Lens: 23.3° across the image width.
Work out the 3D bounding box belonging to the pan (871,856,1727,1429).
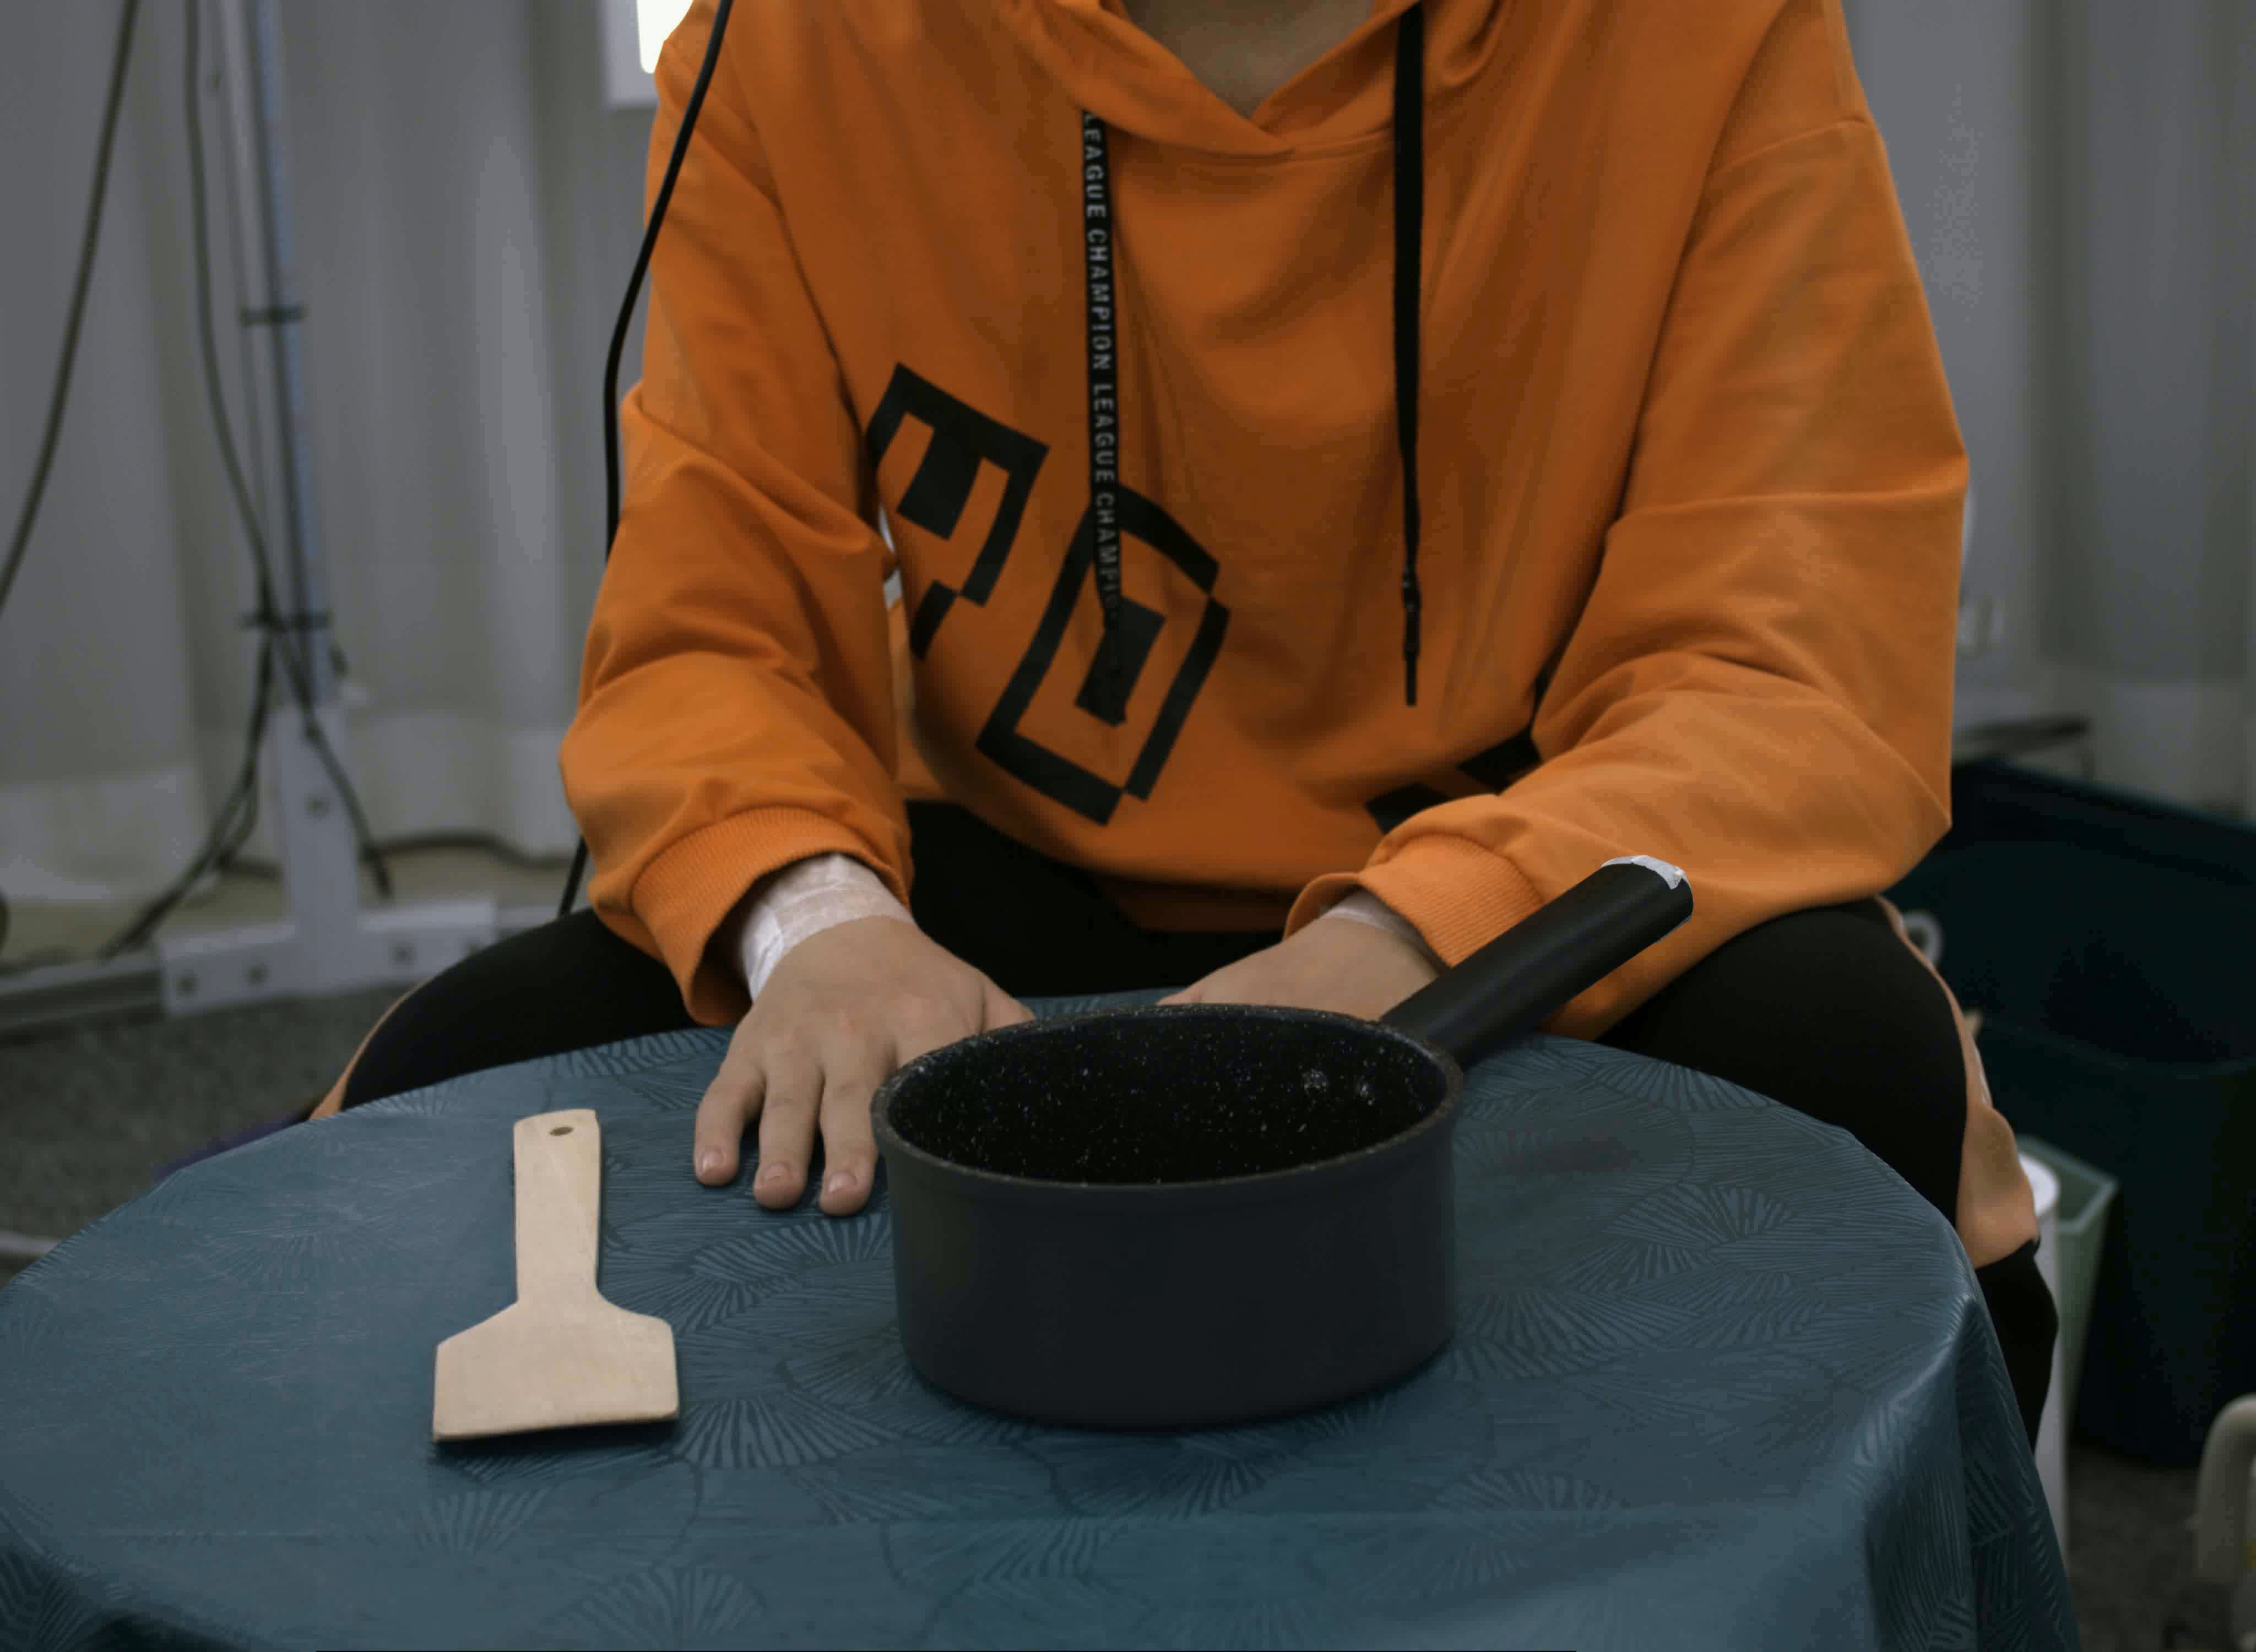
[{"bbox_3d":[0.067,0.090,1.632,0.173,0.086,0.328,12,23,42],"label":"pan"}]

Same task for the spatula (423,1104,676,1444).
[{"bbox_3d":[-0.174,0.133,1.664,0.072,0.010,0.295,-8,15,-3],"label":"spatula"}]
